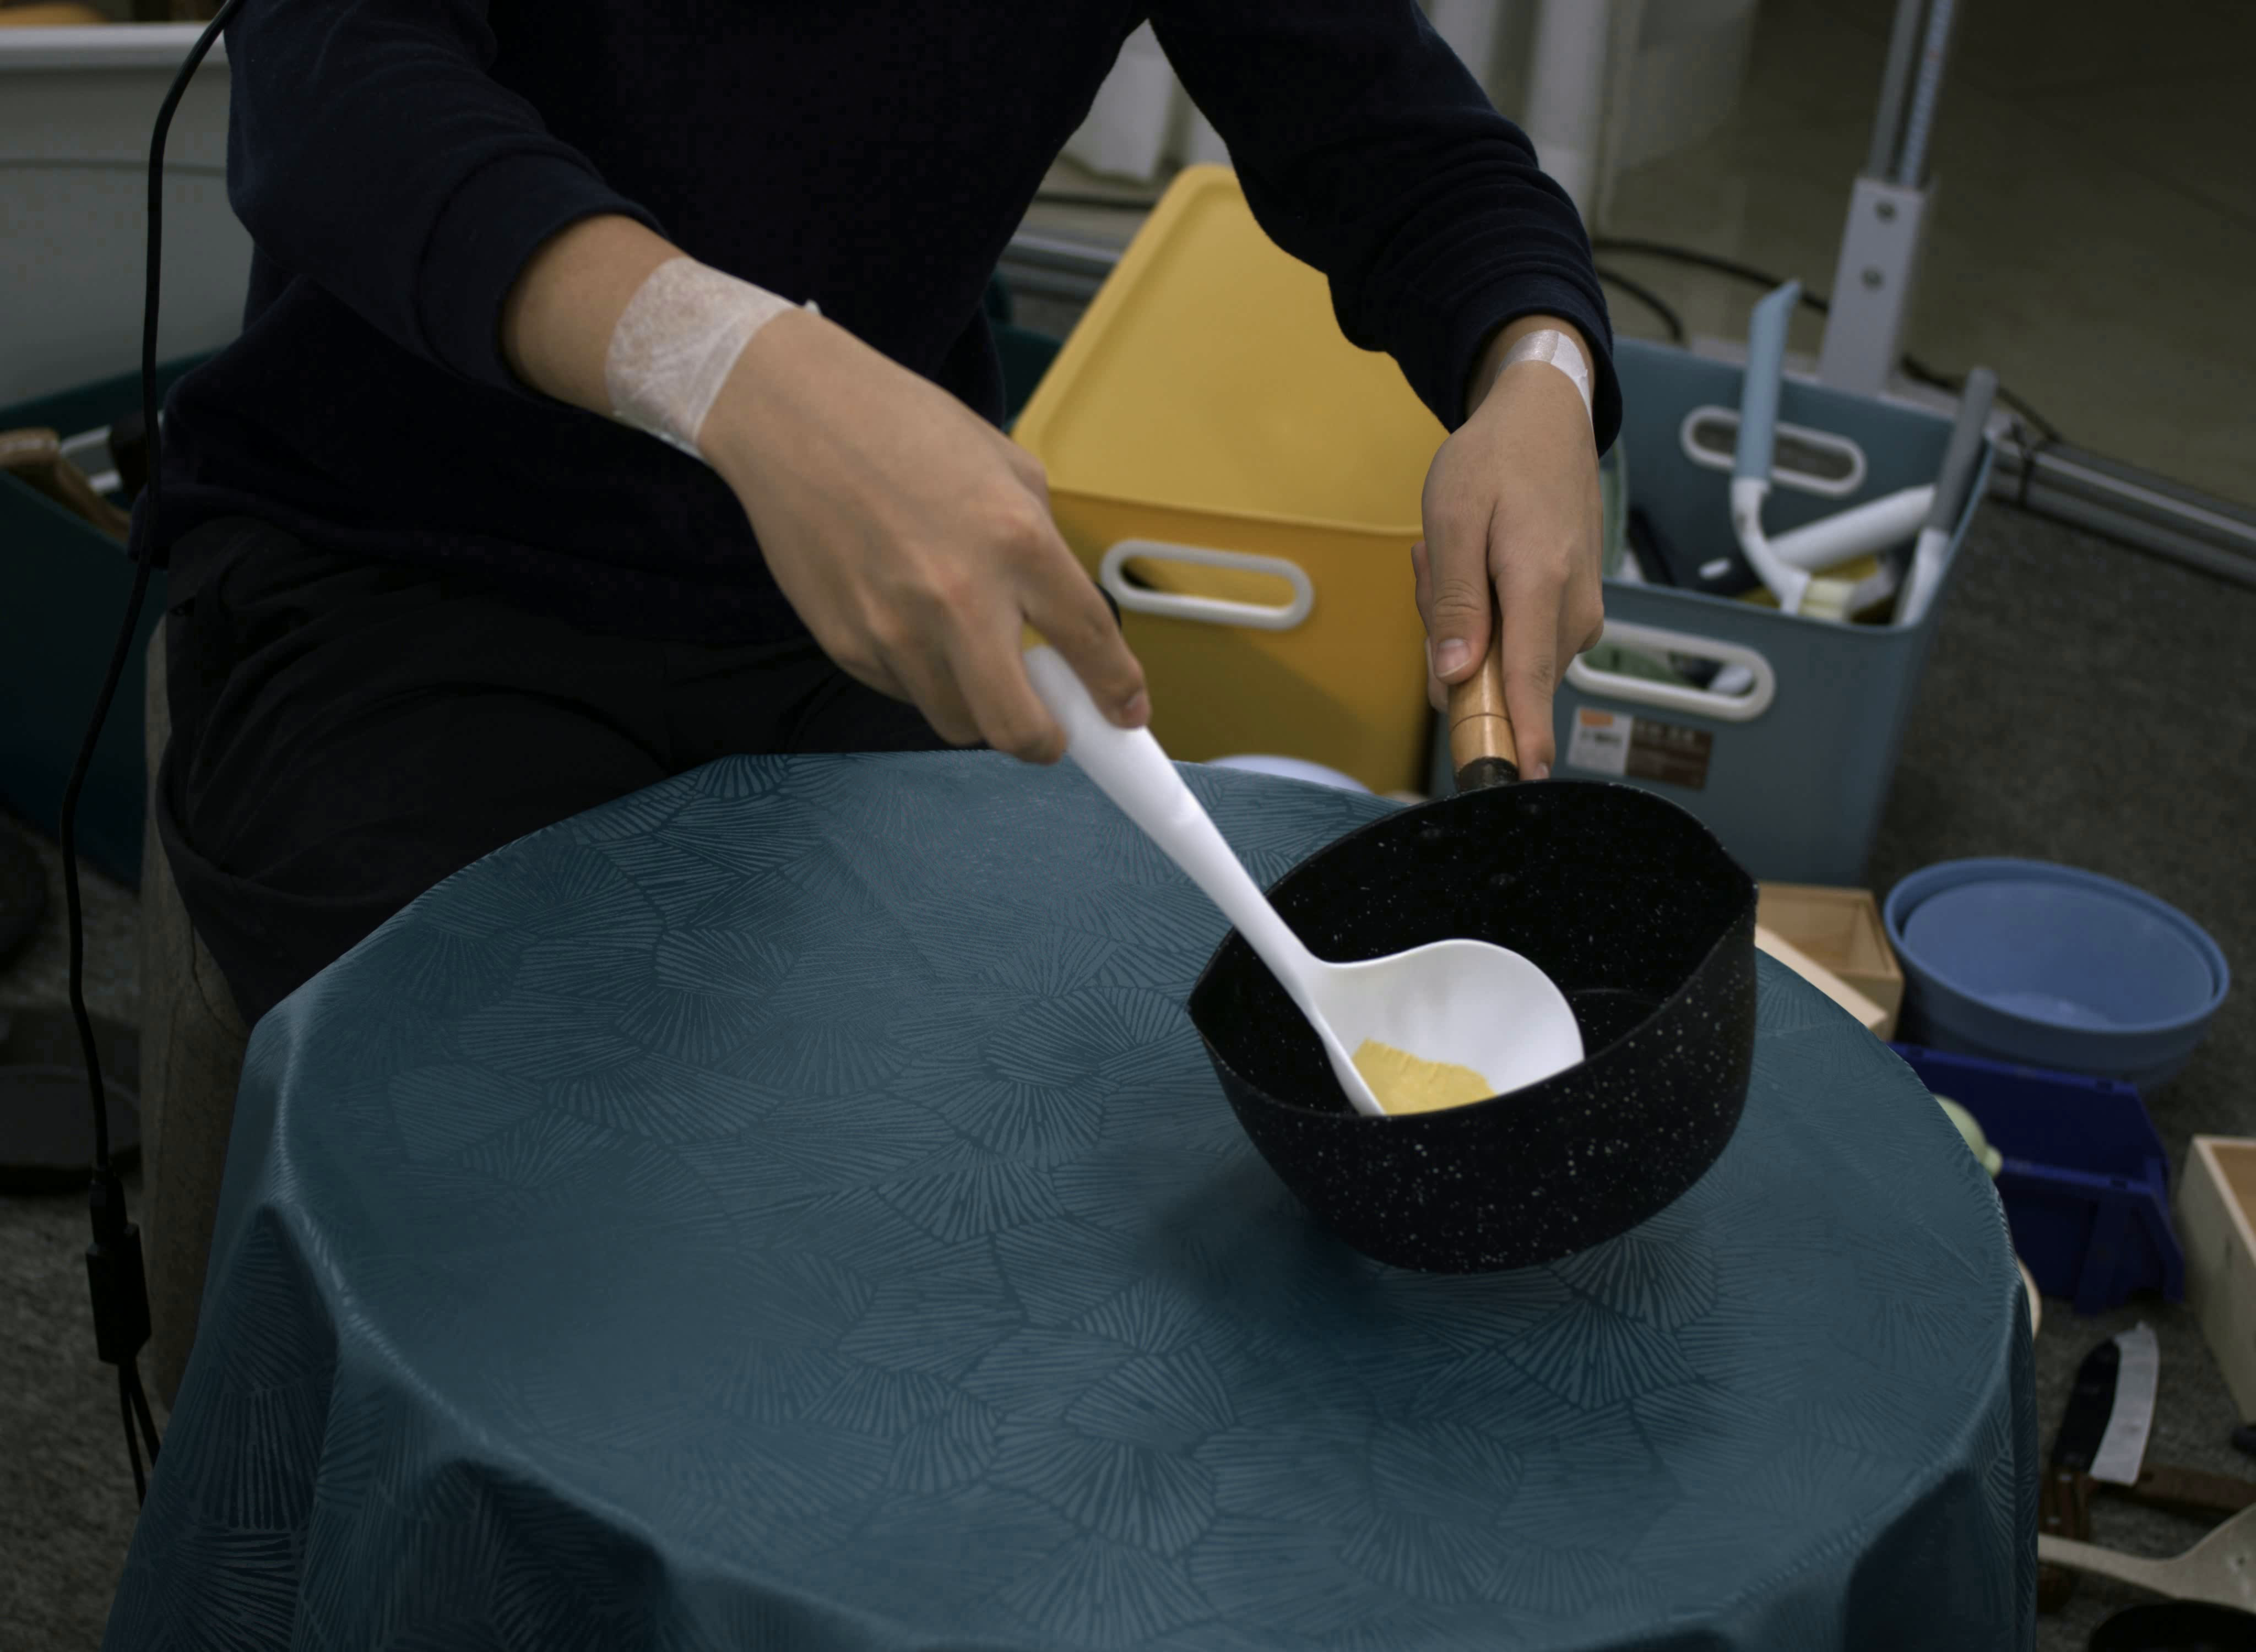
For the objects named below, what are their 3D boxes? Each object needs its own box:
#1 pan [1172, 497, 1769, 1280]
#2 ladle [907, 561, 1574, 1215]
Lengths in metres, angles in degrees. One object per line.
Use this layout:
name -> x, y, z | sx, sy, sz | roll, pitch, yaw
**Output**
pan -> 0.125, 0.018, 1.844 | 0.207, 0.107, 0.345 | -14, 33, 13
ladle -> 0.040, 0.017, 1.665 | 0.070, 0.290, 0.090 | -3, 51, 41
